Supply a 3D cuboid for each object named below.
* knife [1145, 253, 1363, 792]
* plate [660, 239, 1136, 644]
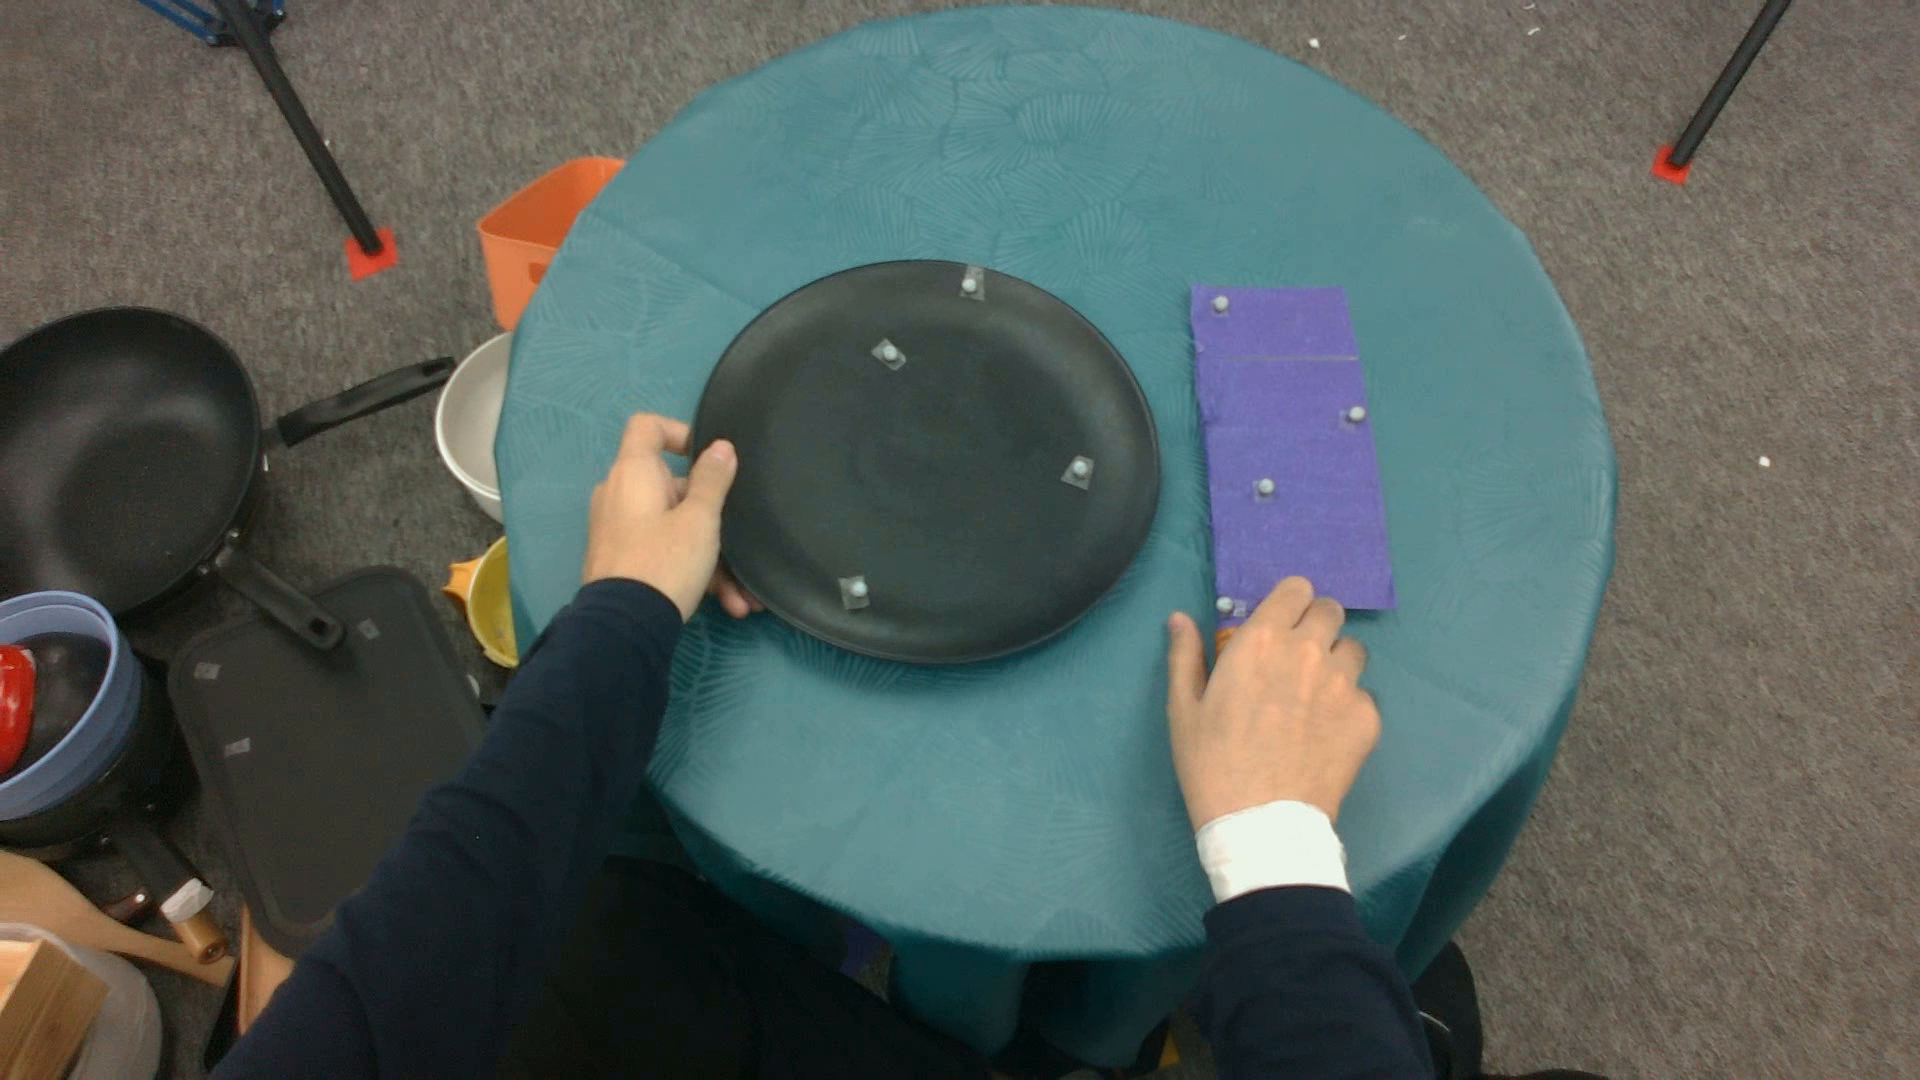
[{"bbox_3d":[0.157,-0.026,0.711,0.104,0.032,0.316,1,62,-2],"label":"knife"},{"bbox_3d":[-0.031,-0.054,0.715,0.244,0.023,0.245,2,62,-4],"label":"plate"}]
